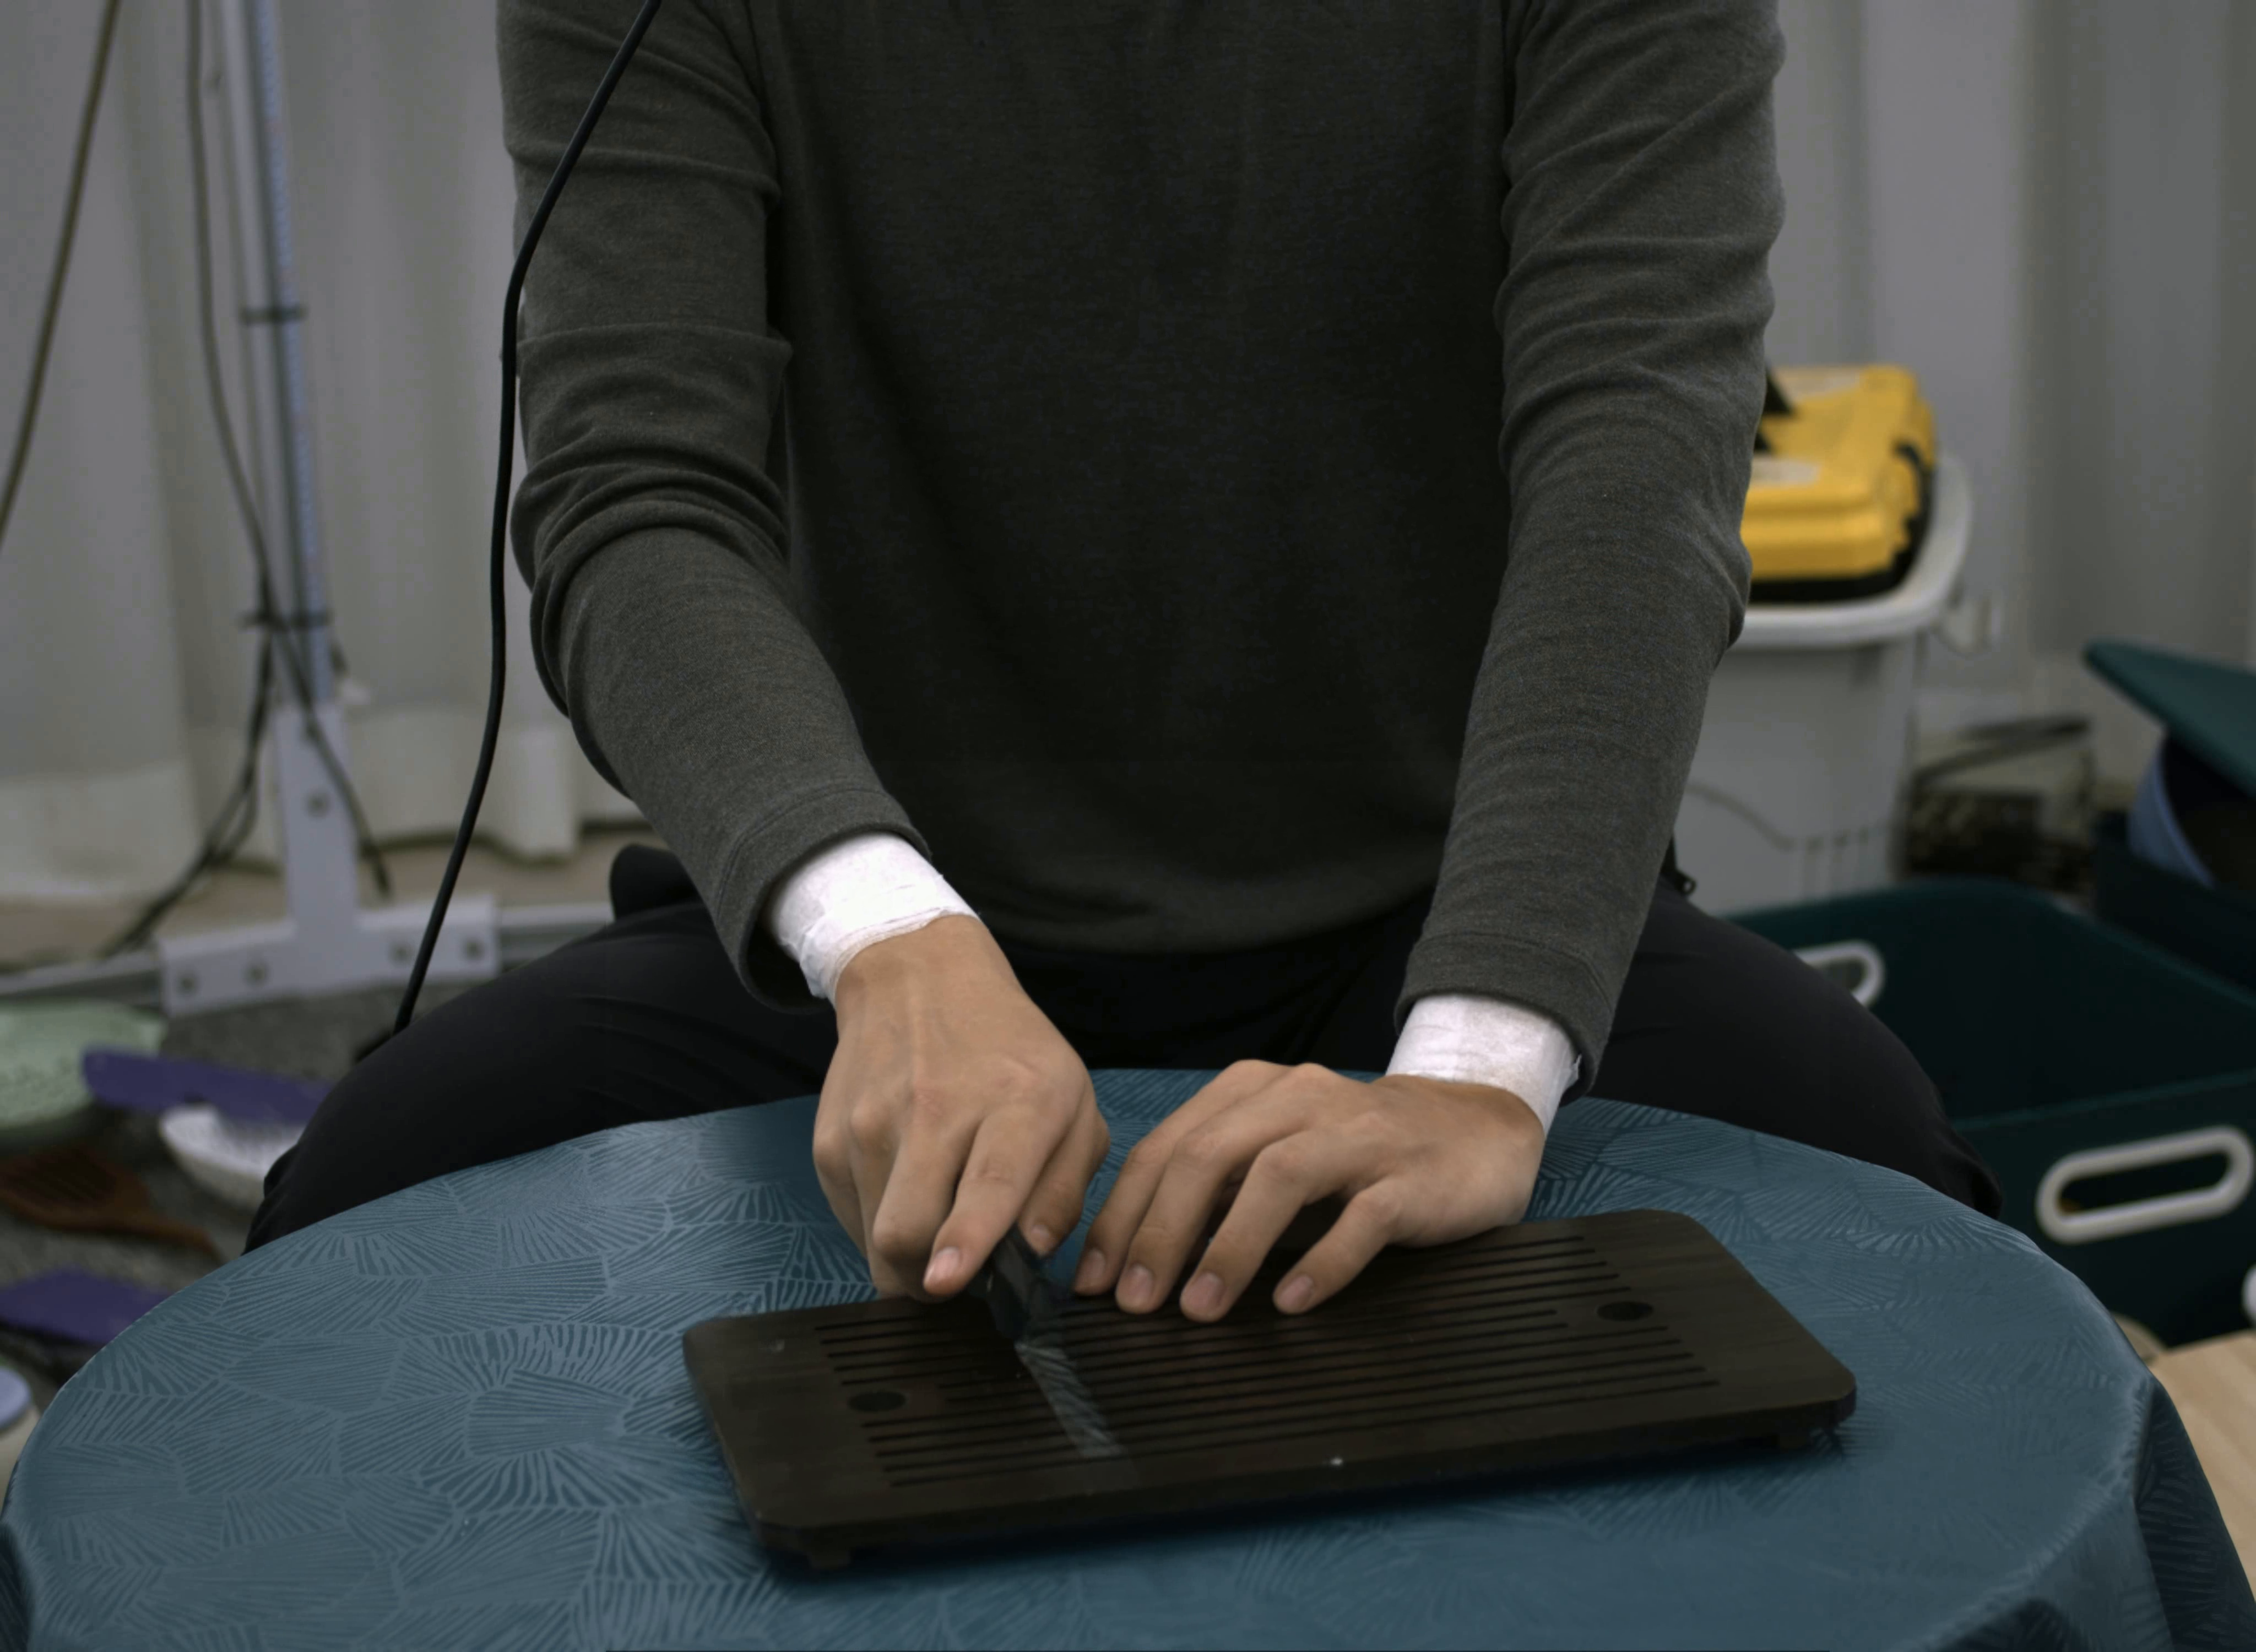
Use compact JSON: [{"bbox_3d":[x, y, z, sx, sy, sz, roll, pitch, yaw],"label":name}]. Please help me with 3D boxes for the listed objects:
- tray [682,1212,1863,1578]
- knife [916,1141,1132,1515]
[{"bbox_3d":[0.036,0.156,1.519,0.304,0.018,0.171,-6,14,-11],"label":"tray"},{"bbox_3d":[-0.028,0.136,1.515,0.016,0.024,0.240,4,17,-16],"label":"knife"}]
